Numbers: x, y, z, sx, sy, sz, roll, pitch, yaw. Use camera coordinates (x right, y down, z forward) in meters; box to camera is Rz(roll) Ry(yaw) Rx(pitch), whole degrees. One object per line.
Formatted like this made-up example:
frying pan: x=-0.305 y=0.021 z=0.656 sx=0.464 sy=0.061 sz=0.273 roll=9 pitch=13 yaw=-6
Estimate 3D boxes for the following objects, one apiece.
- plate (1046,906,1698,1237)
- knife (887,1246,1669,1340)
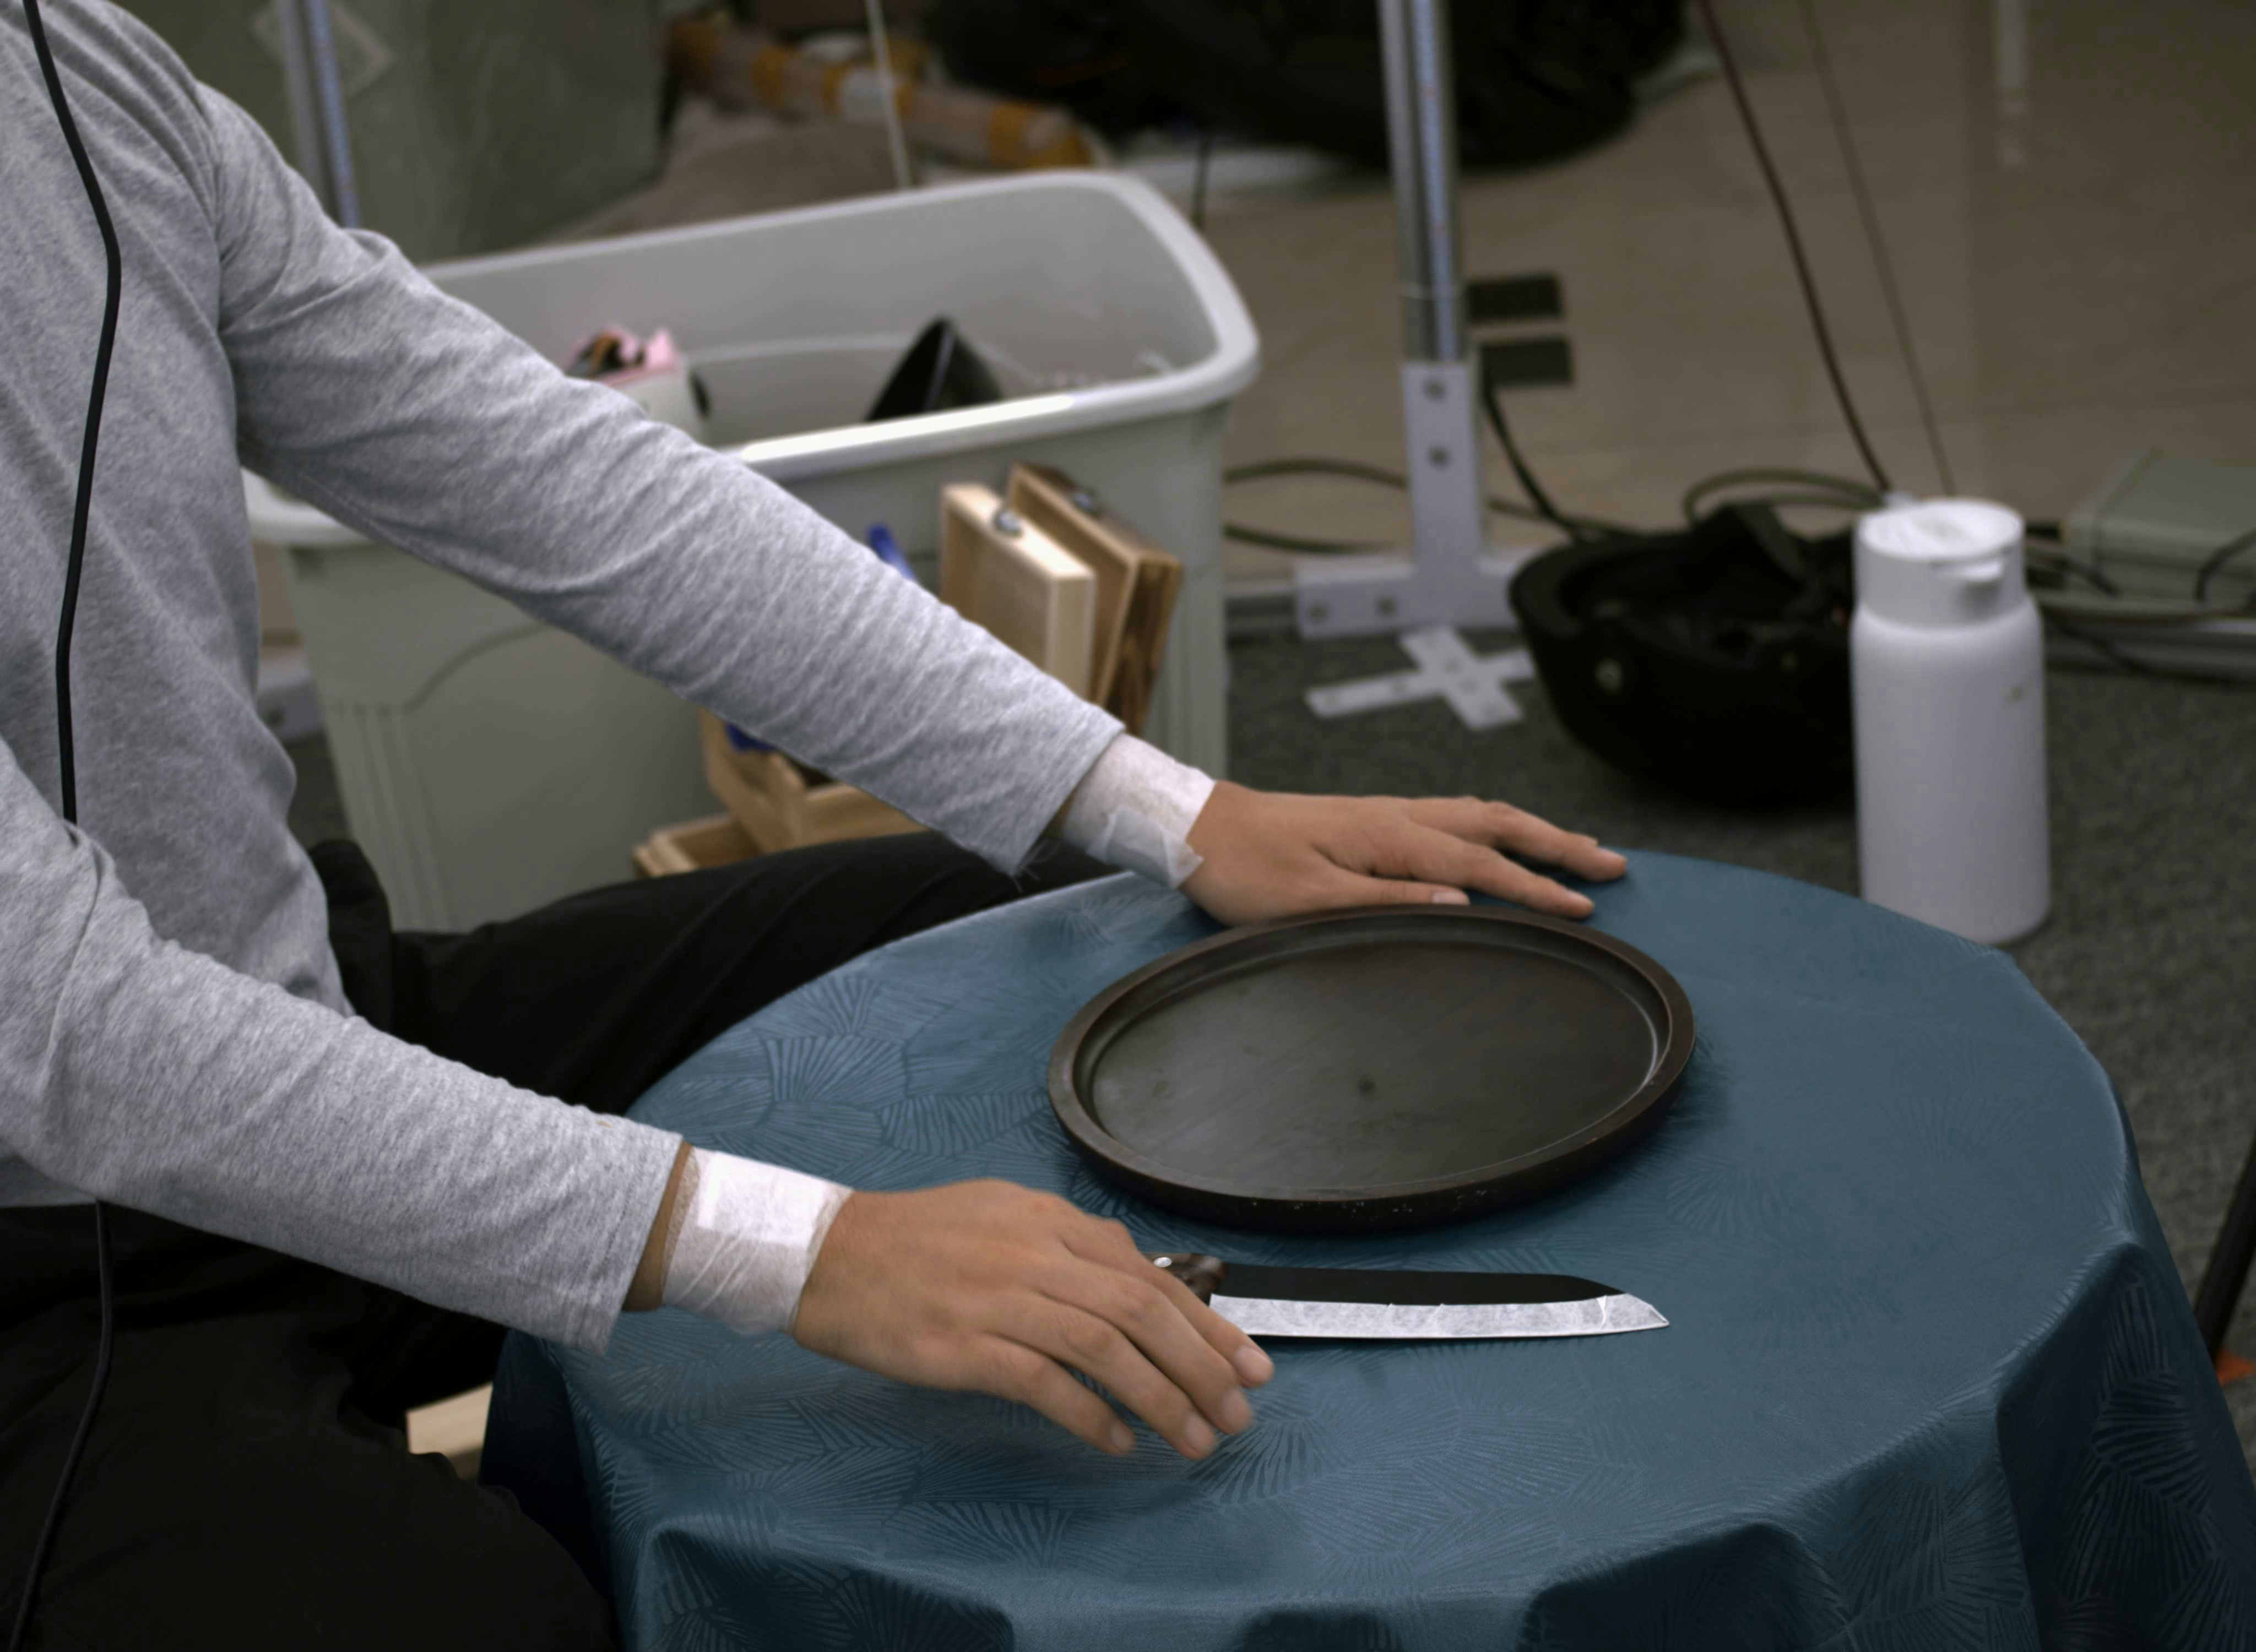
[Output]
plate: x=0.094 y=0.093 z=2.198 sx=0.254 sy=0.029 sz=0.251 roll=-7 pitch=26 yaw=3
knife: x=0.052 y=0.171 z=2.053 sx=0.288 sy=0.020 sz=0.049 roll=2 pitch=31 yaw=12
